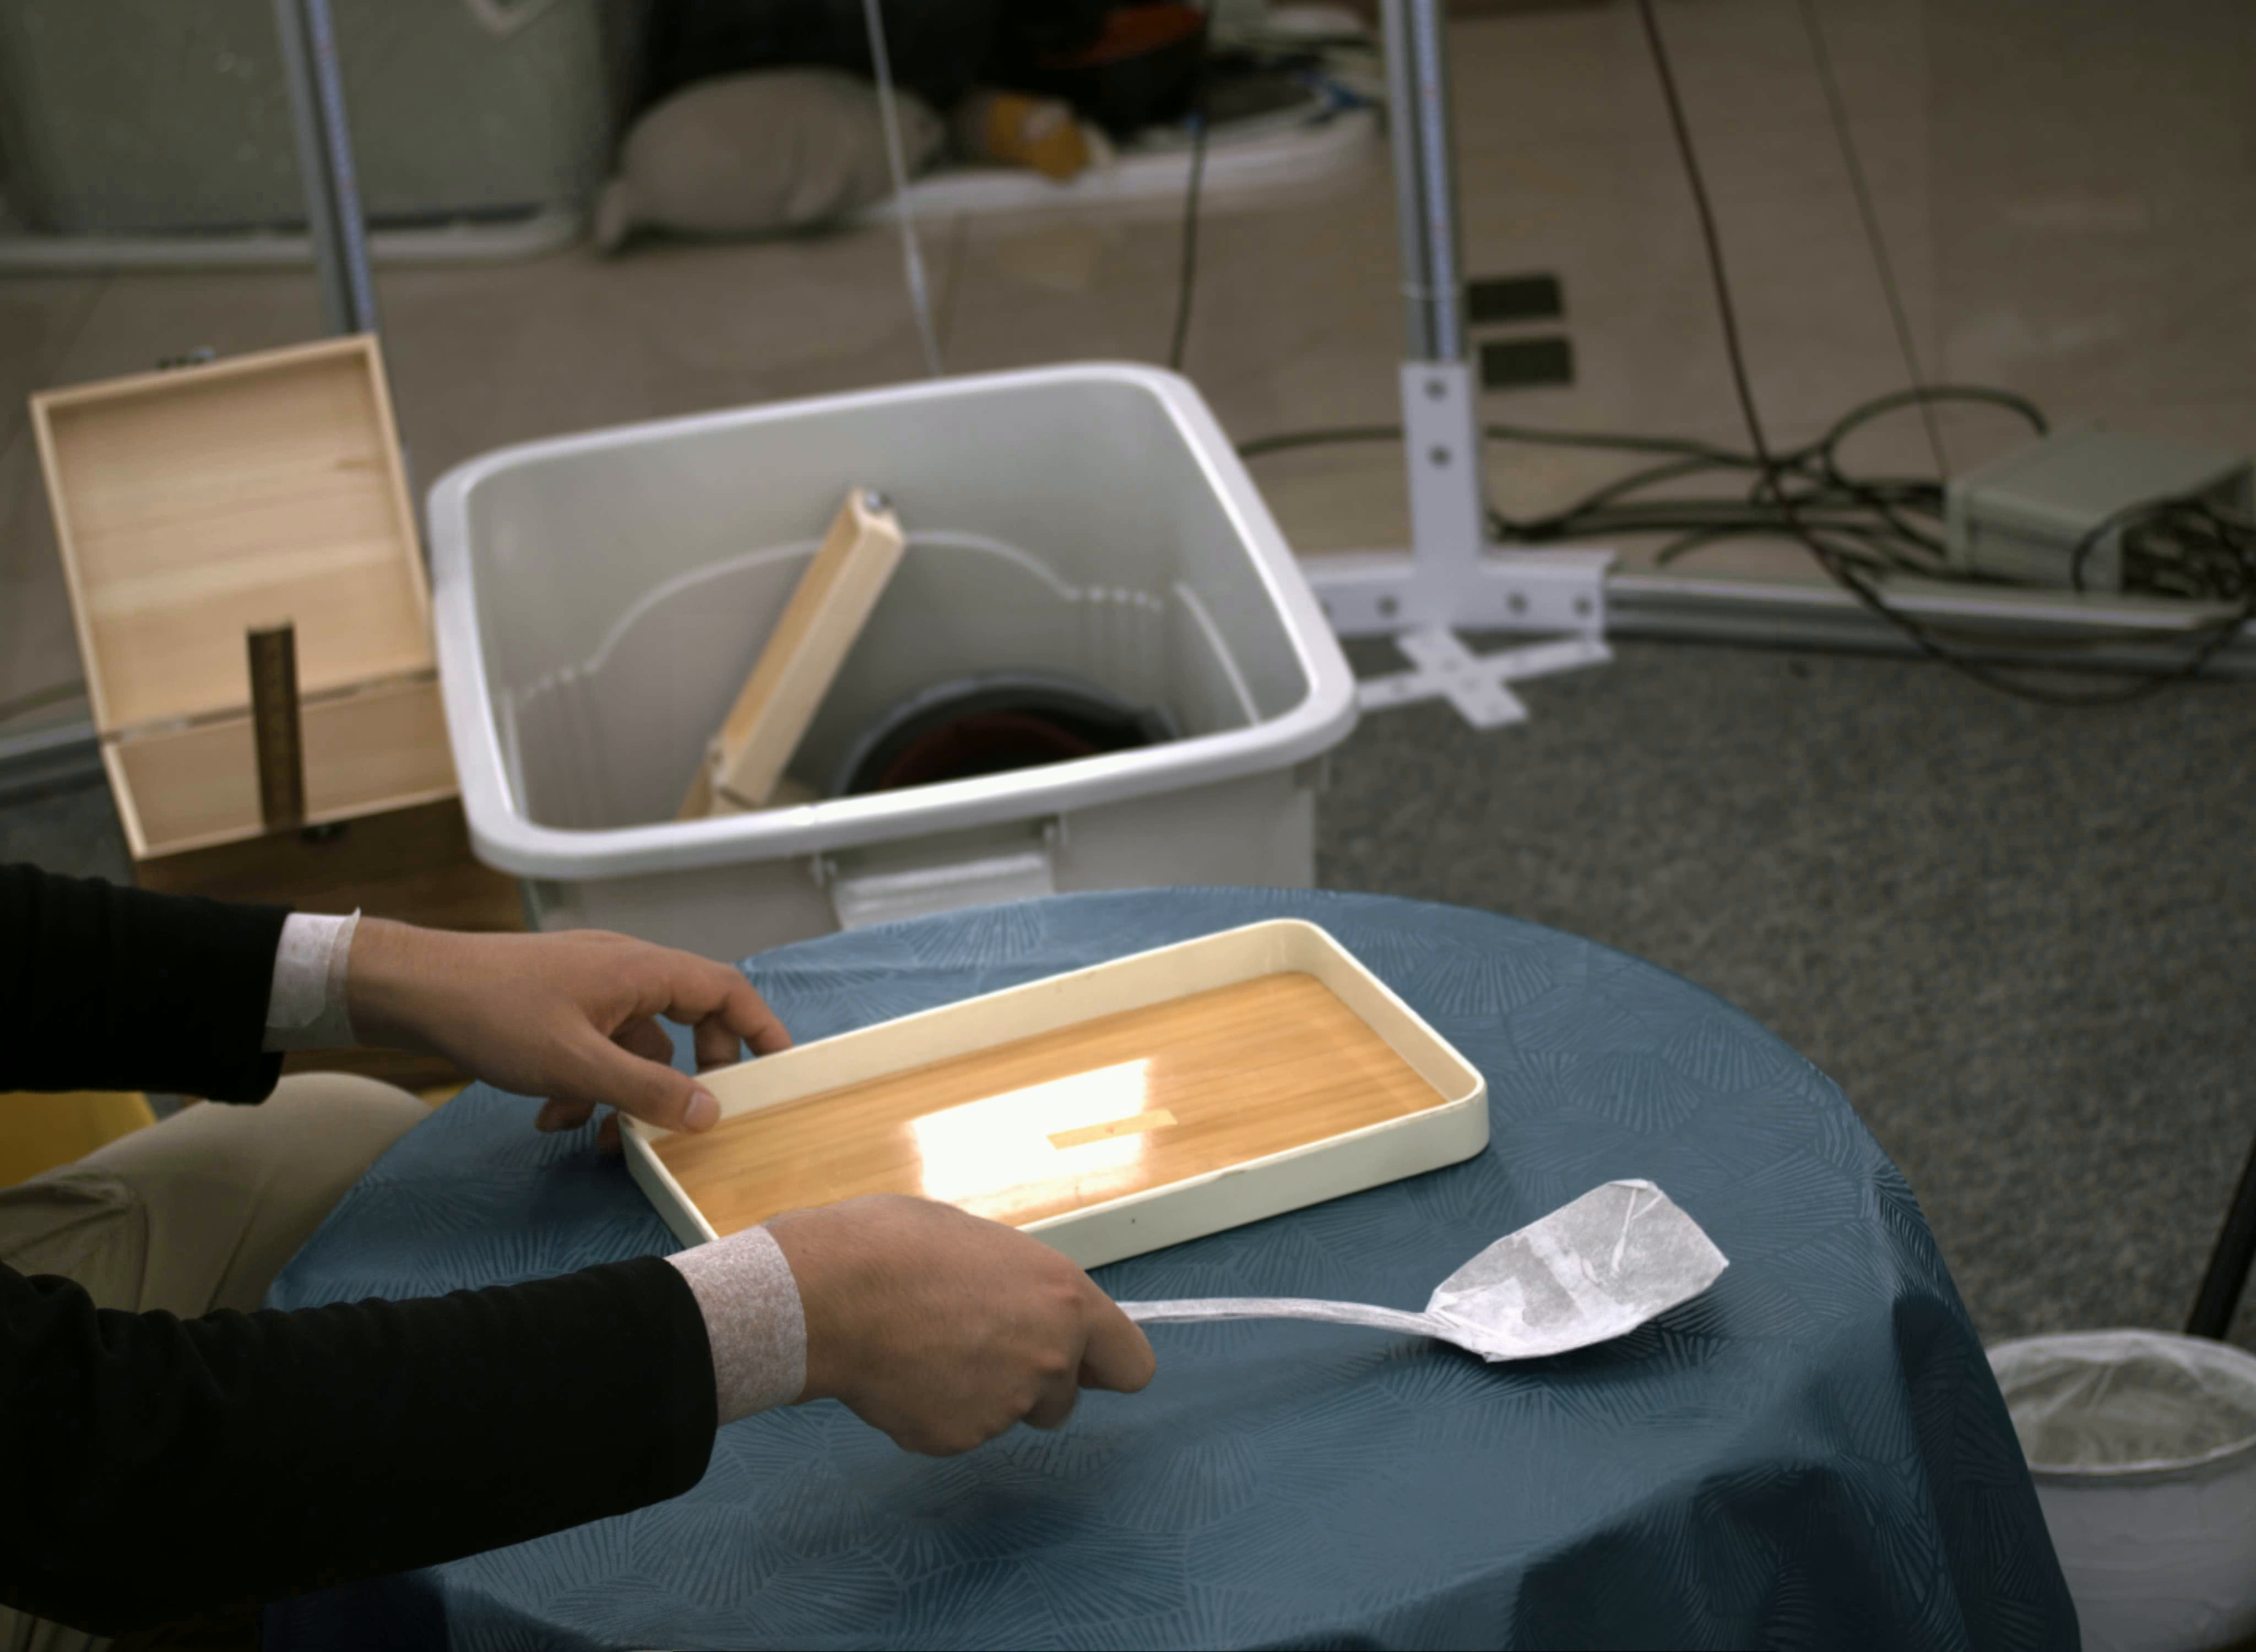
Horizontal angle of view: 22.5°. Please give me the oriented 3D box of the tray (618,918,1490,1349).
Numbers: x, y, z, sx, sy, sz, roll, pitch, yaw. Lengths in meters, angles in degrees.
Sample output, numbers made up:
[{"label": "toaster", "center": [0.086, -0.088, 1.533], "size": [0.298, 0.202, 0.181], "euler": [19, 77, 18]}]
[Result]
[{"label": "tray", "center": [-0.030, 0.115, 2.176], "size": [0.299, 0.028, 0.189], "euler": [-15, 26, -17]}]

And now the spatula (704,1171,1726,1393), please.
[{"label": "spatula", "center": [0.032, 0.167, 1.994], "size": [0.364, 0.045, 0.097], "euler": [-3, 21, -15]}]
